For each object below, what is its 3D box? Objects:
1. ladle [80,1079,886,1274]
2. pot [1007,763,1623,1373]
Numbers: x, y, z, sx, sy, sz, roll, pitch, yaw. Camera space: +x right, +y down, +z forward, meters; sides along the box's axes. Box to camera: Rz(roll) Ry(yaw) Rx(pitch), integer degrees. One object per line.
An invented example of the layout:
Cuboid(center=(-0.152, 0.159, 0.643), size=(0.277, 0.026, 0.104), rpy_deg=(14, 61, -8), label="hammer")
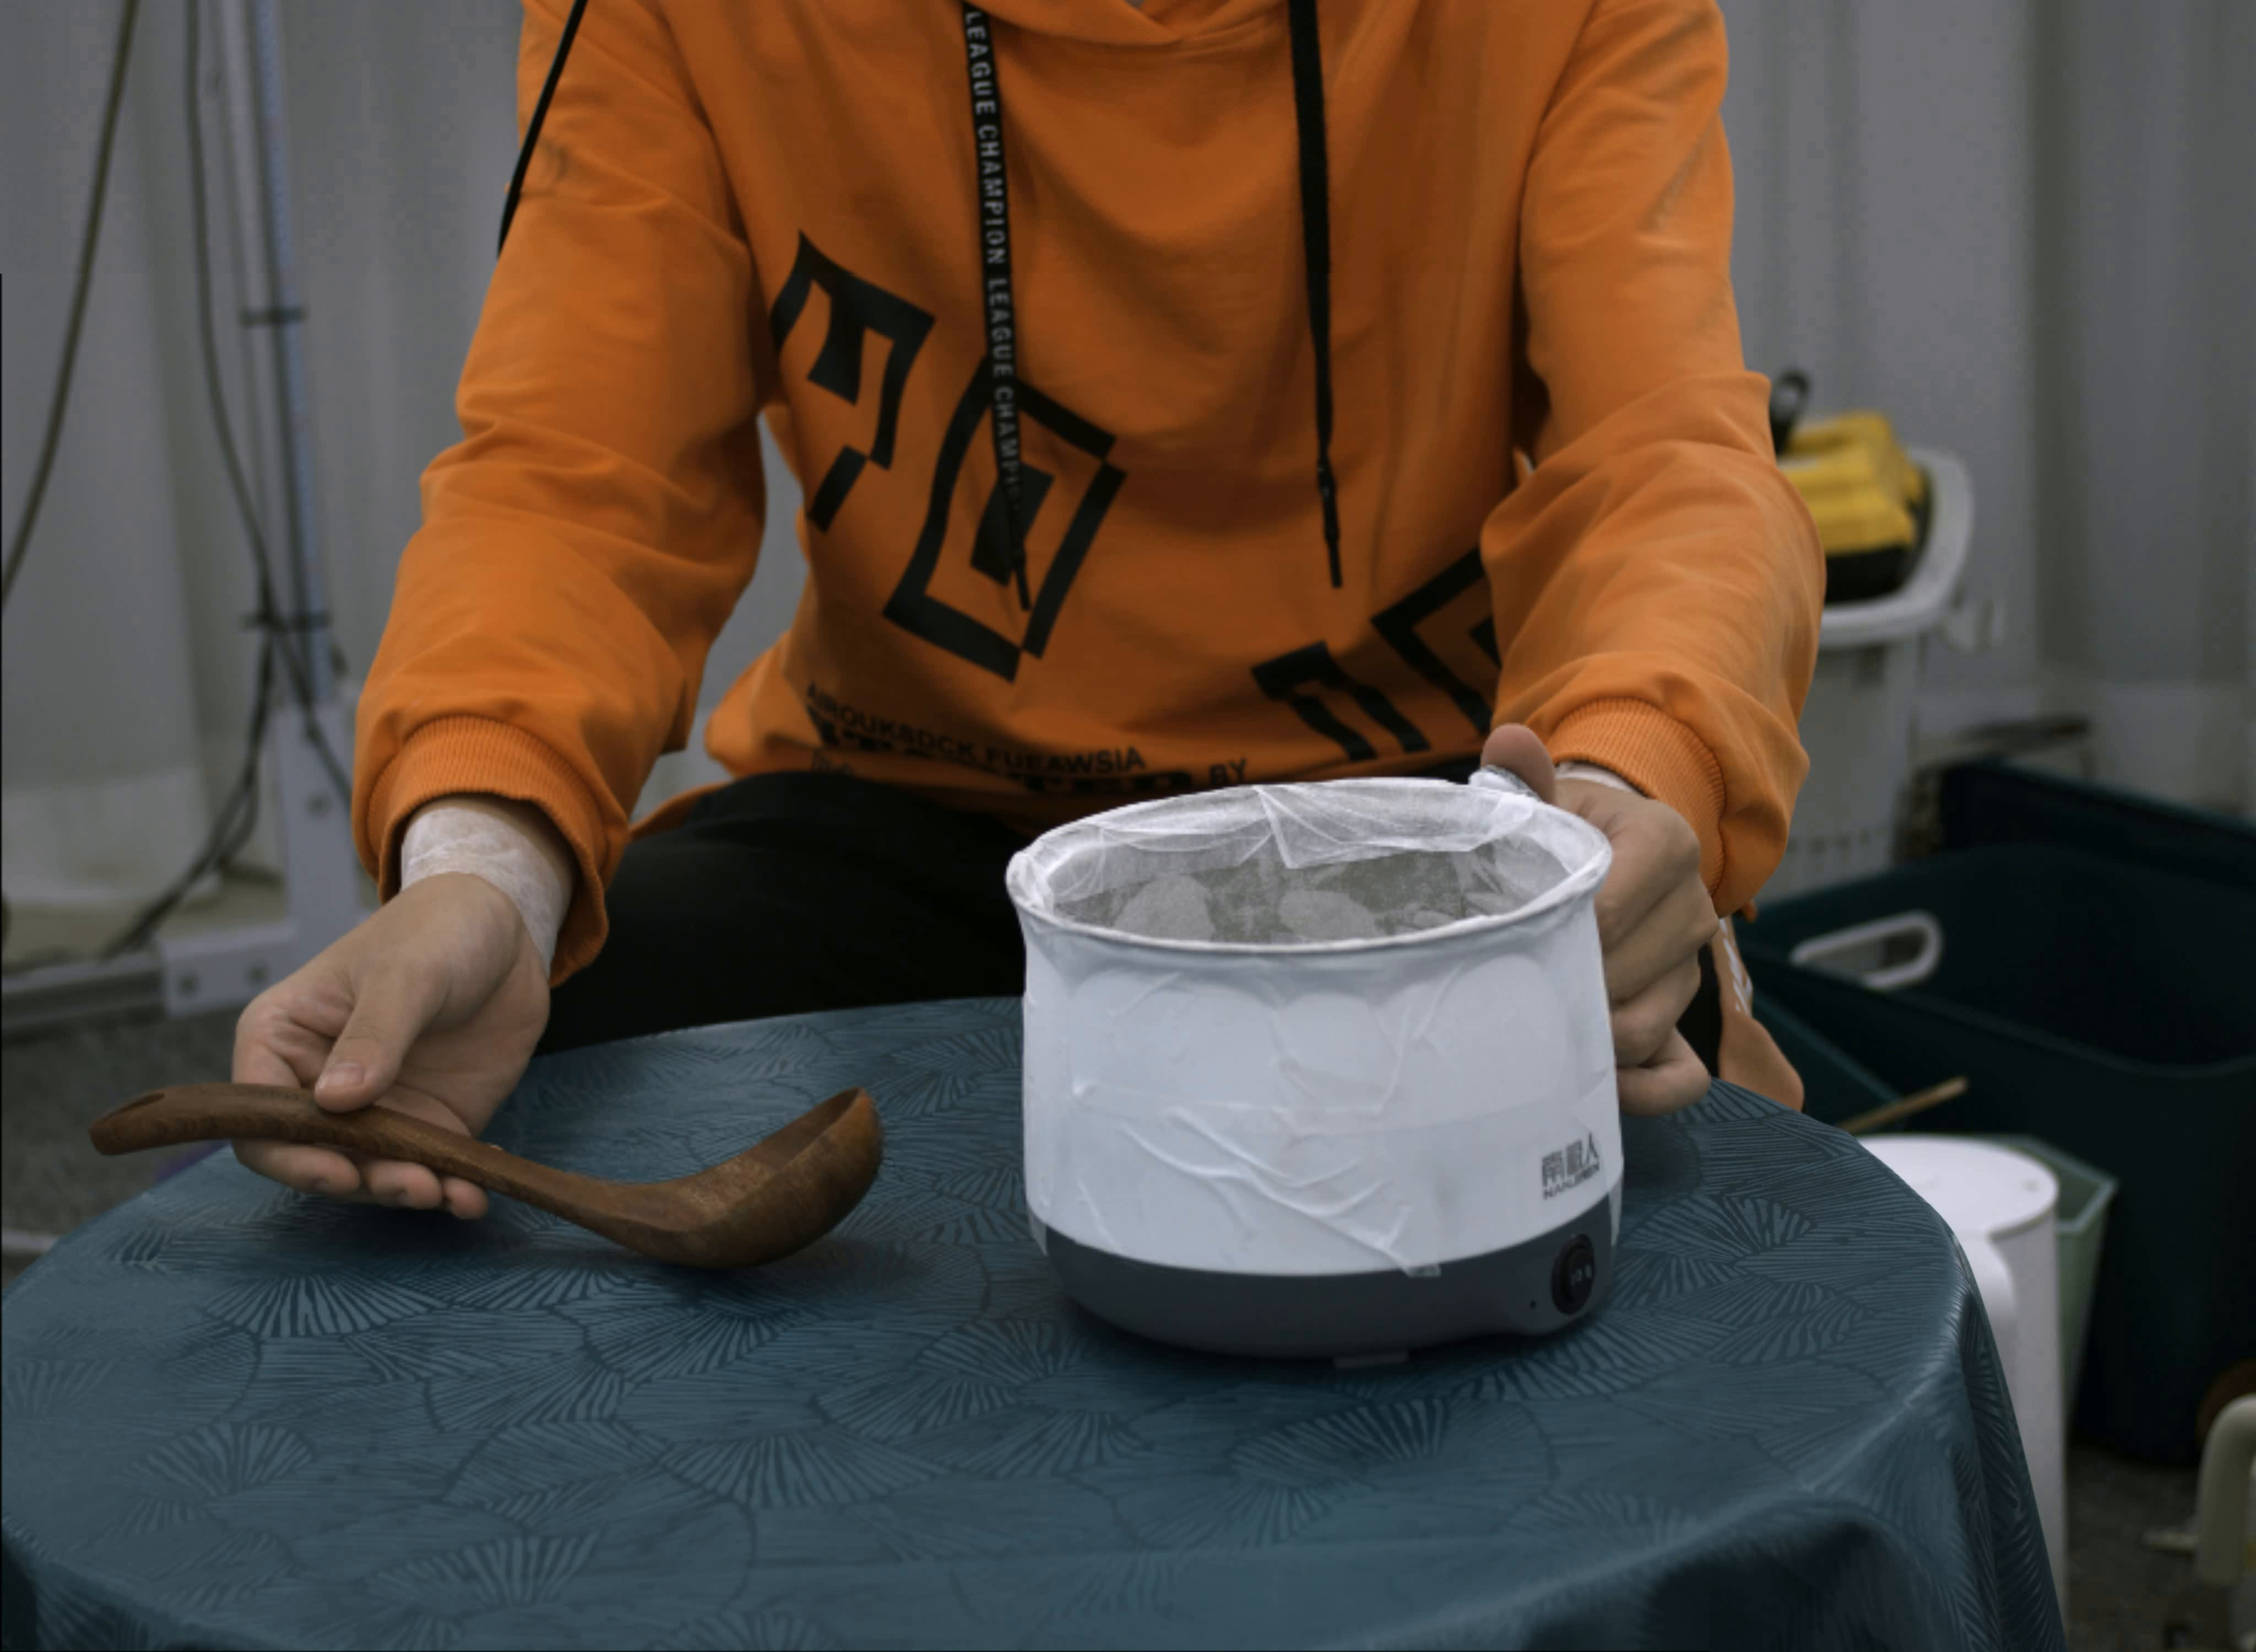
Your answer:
Cuboid(center=(-0.200, 0.091, 1.680), size=(0.260, 0.065, 0.077), rpy_deg=(11, 16, 14), label="ladle")
Cuboid(center=(0.072, 0.064, 1.625), size=(0.179, 0.136, 0.234), rpy_deg=(8, 19, 34), label="pot")
